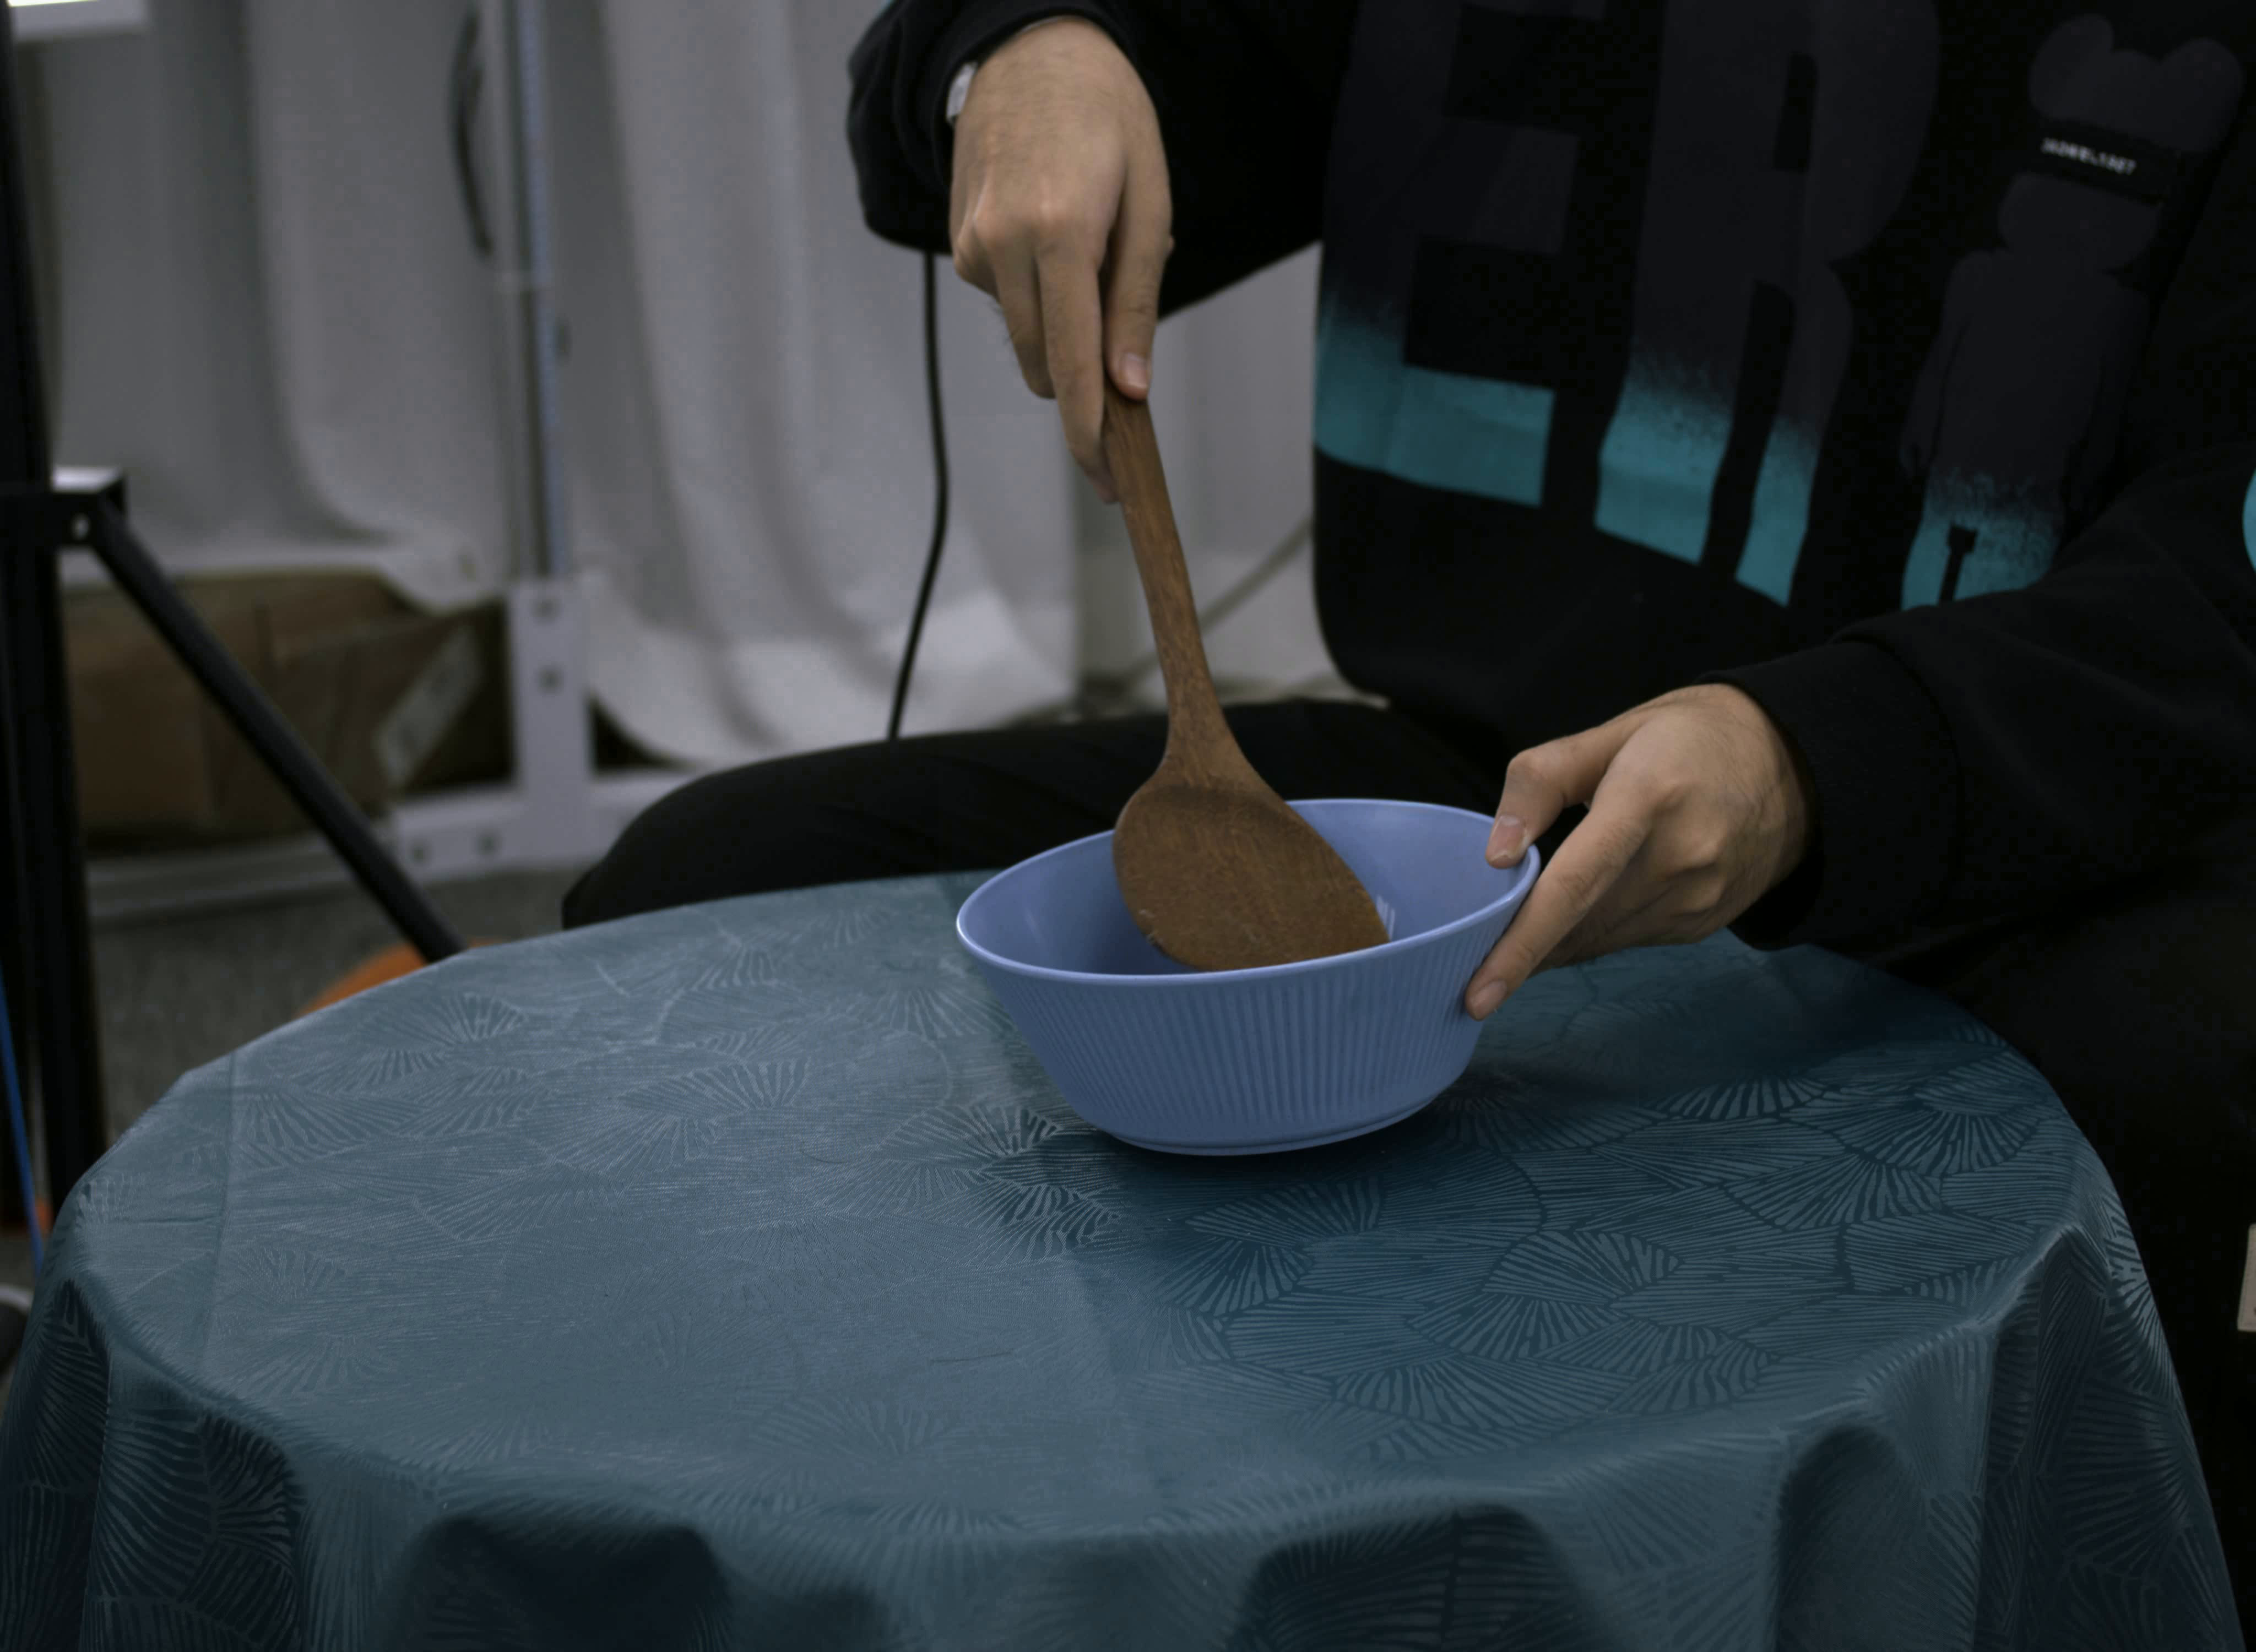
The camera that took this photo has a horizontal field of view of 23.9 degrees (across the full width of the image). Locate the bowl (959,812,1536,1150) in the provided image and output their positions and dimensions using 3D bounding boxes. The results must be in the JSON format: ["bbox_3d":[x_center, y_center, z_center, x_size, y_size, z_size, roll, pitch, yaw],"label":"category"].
[{"bbox_3d":[0.039,0.049,1.602,0.175,0.070,0.177,-6,14,0],"label":"bowl"}]

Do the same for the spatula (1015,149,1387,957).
[{"bbox_3d":[0.010,-0.089,1.718,0.094,0.016,0.392,11,44,-28],"label":"spatula"}]
